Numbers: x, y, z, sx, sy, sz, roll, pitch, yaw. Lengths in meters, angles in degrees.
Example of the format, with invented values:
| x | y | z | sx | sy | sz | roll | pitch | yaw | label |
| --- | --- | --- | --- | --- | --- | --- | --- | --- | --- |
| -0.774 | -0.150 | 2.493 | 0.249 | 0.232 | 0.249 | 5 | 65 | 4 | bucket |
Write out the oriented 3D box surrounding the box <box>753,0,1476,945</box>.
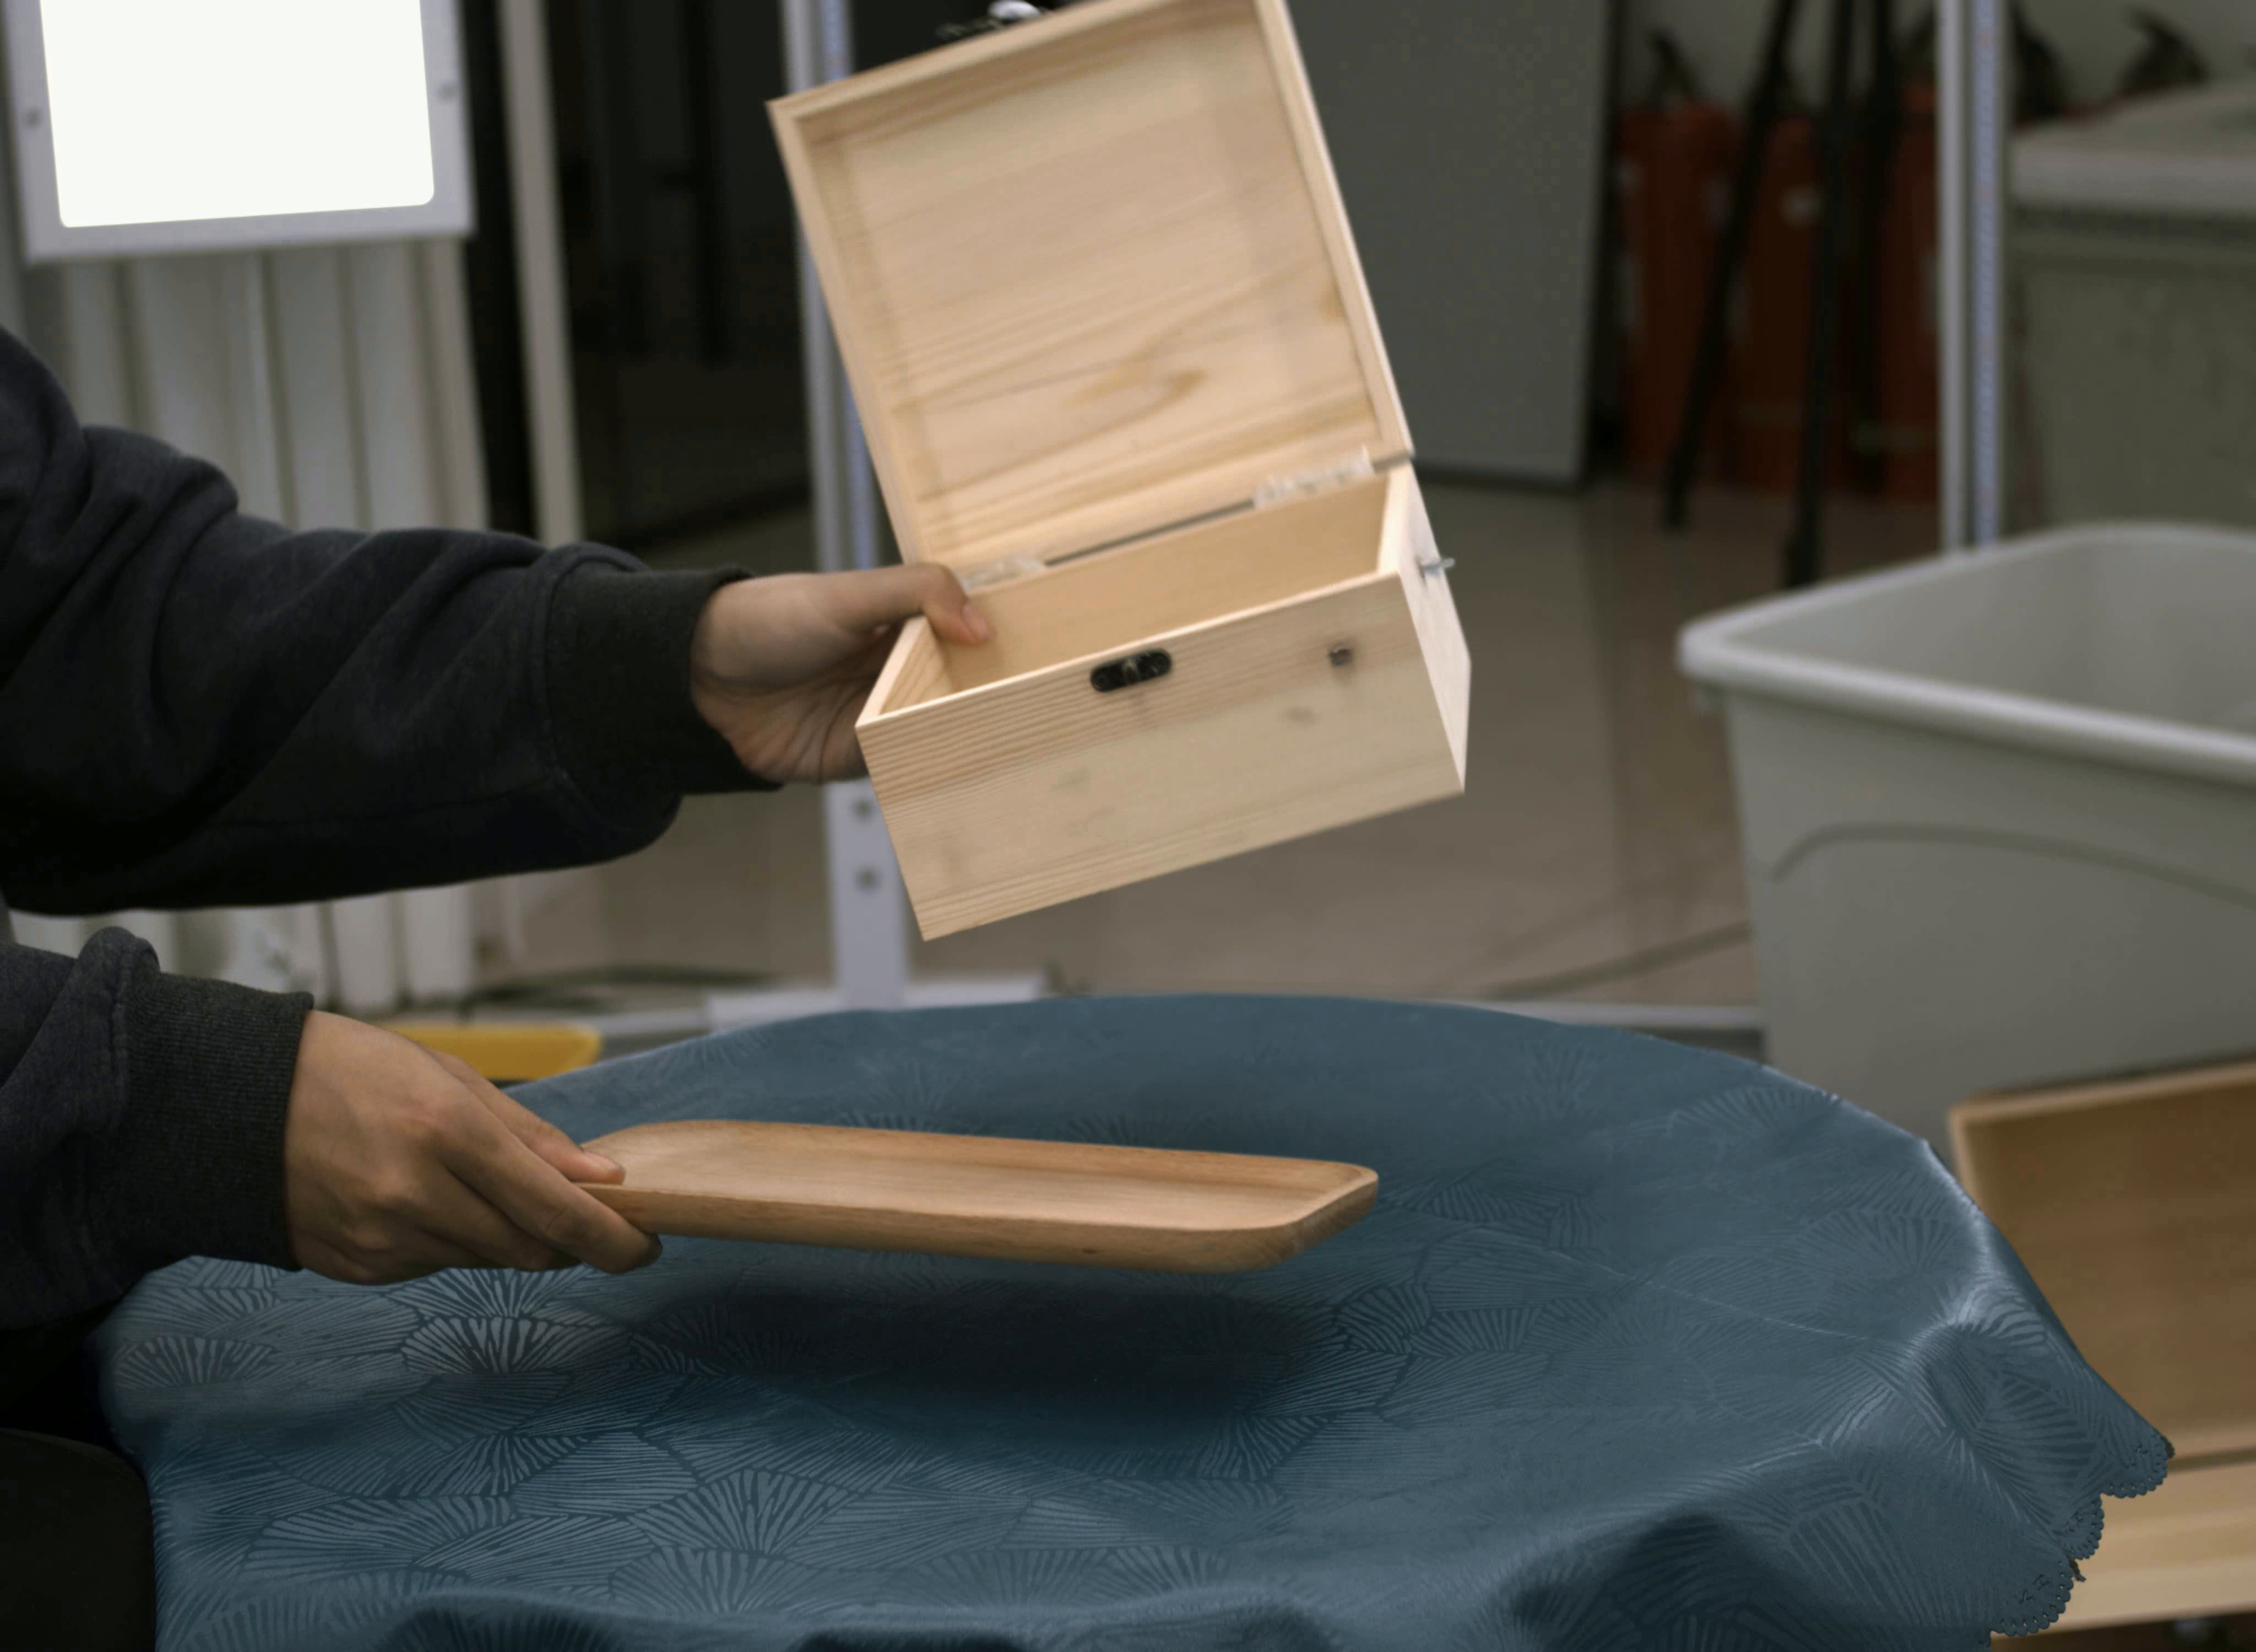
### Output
| x | y | z | sx | sy | sz | roll | pitch | yaw | label |
| --- | --- | --- | --- | --- | --- | --- | --- | --- | --- |
| -0.011 | -0.135 | 1.788 | 0.181 | 0.255 | 0.265 | -20 | 11 | 9 | box |

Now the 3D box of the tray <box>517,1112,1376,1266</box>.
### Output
| x | y | z | sx | sy | sz | roll | pitch | yaw | label |
| --- | --- | --- | --- | --- | --- | --- | --- | --- | --- |
| -0.055 | 0.108 | 1.628 | 0.250 | 0.023 | 0.129 | 2 | 3 | 22 | tray |
